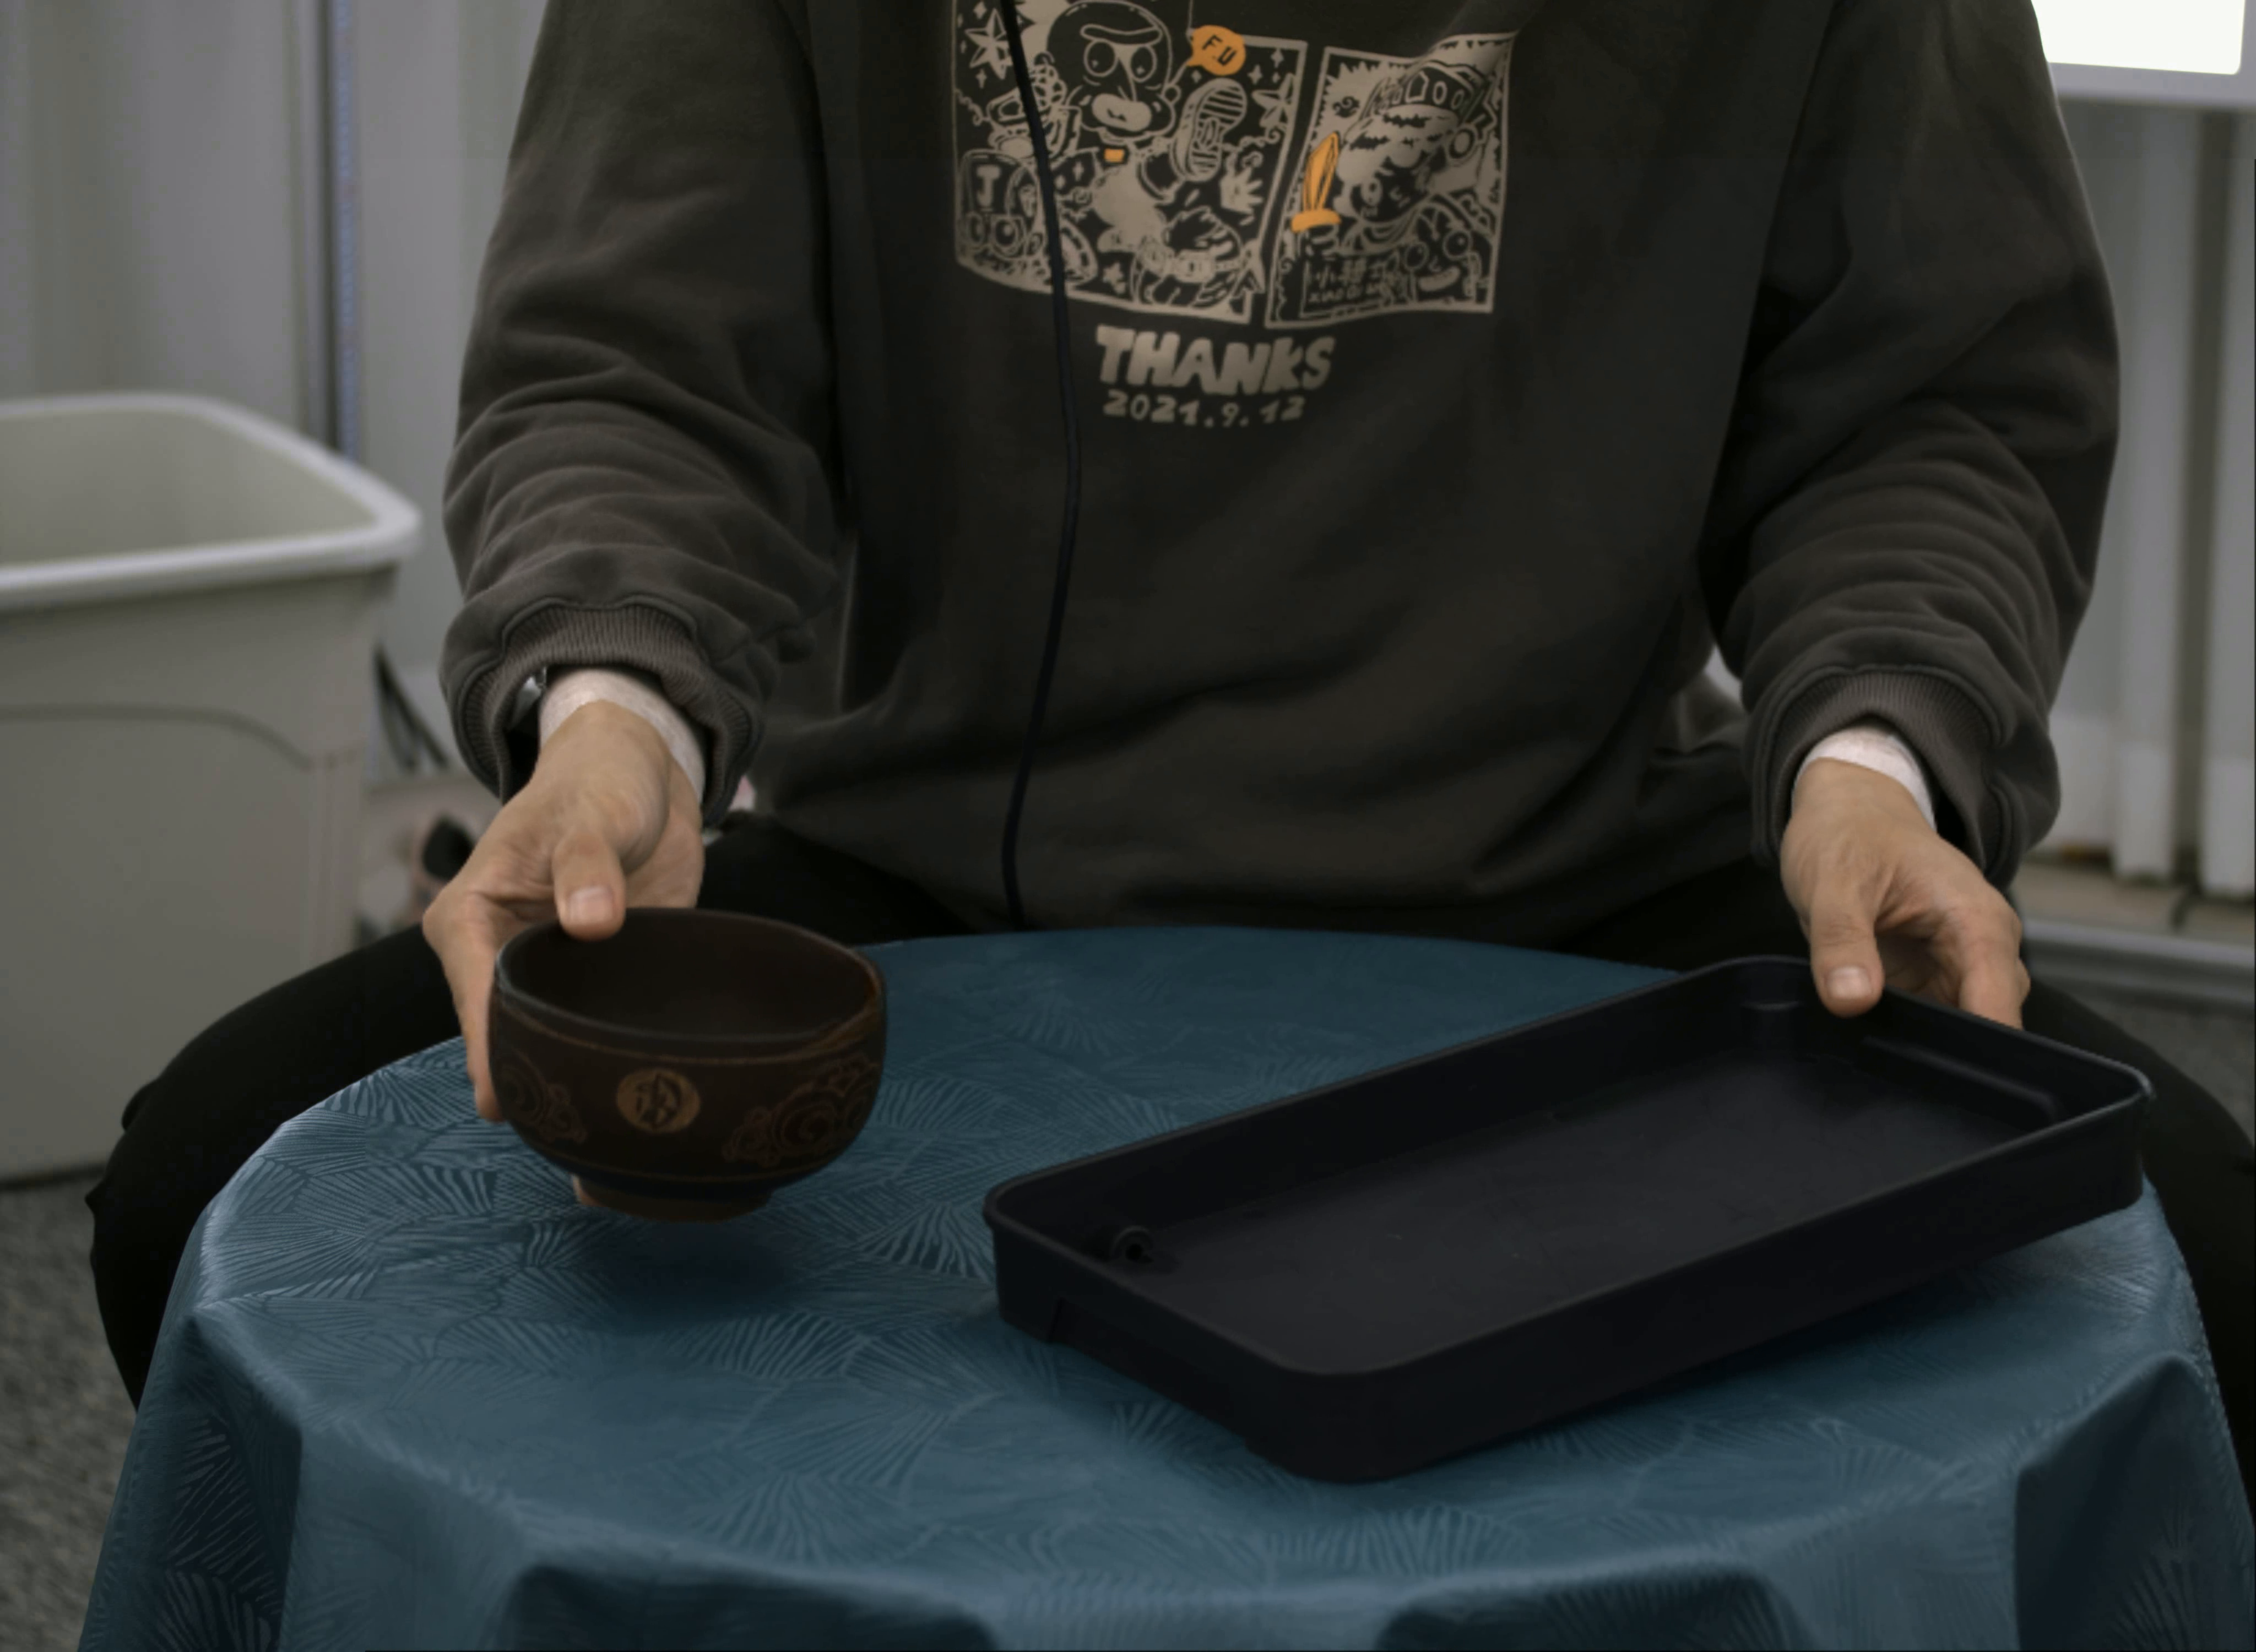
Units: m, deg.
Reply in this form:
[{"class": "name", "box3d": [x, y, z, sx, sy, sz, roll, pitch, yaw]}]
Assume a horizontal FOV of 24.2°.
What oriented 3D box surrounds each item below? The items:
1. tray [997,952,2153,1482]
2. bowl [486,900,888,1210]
[{"class": "tray", "box3d": [0.134, 0.108, 1.547, 0.319, 0.037, 0.182, -16, 21, -34]}, {"class": "bowl", "box3d": [-0.131, 0.071, 1.551, 0.118, 0.070, 0.117, 5, 16, -1]}]
